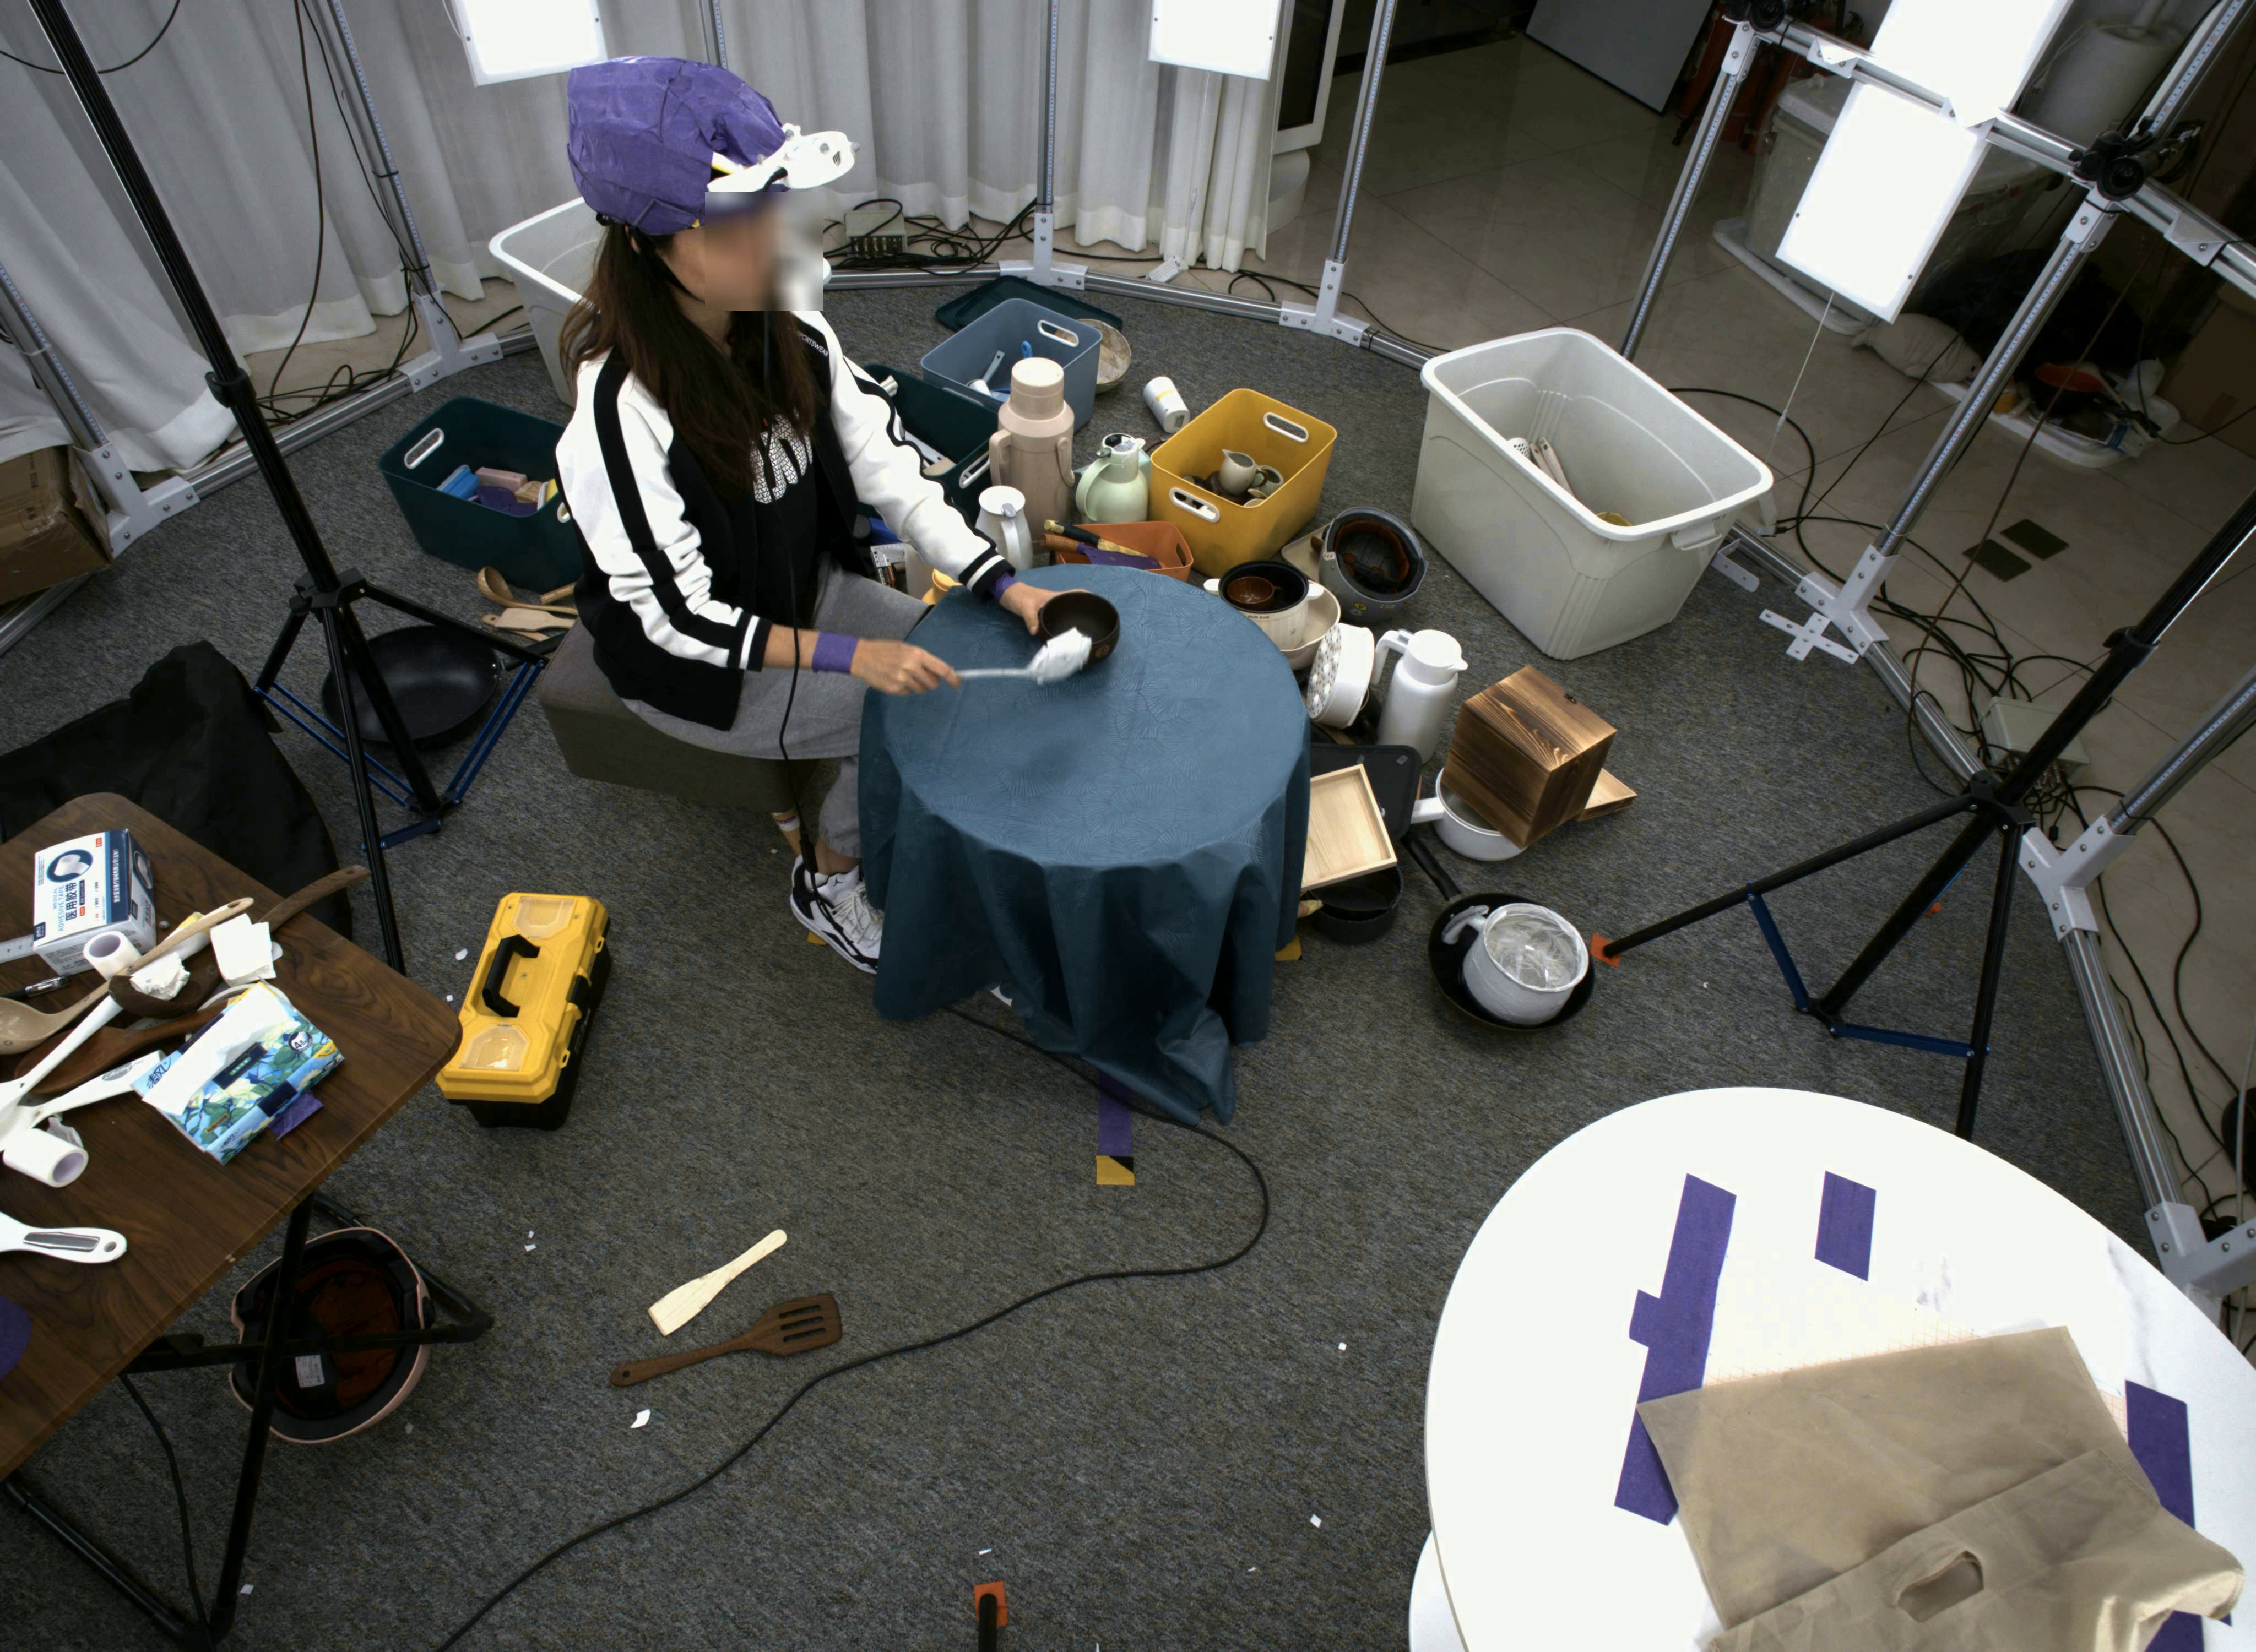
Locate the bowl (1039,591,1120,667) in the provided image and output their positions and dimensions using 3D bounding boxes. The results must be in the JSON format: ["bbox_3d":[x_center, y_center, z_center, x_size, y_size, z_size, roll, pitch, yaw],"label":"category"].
[{"bbox_3d":[-0.071,-0.277,1.858,0.118,0.068,0.121,2,49,-3],"label":"bowl"}]

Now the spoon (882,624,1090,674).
[{"bbox_3d":[-0.187,-0.231,1.702,0.277,0.099,0.060,0,73,9],"label":"spoon"}]
